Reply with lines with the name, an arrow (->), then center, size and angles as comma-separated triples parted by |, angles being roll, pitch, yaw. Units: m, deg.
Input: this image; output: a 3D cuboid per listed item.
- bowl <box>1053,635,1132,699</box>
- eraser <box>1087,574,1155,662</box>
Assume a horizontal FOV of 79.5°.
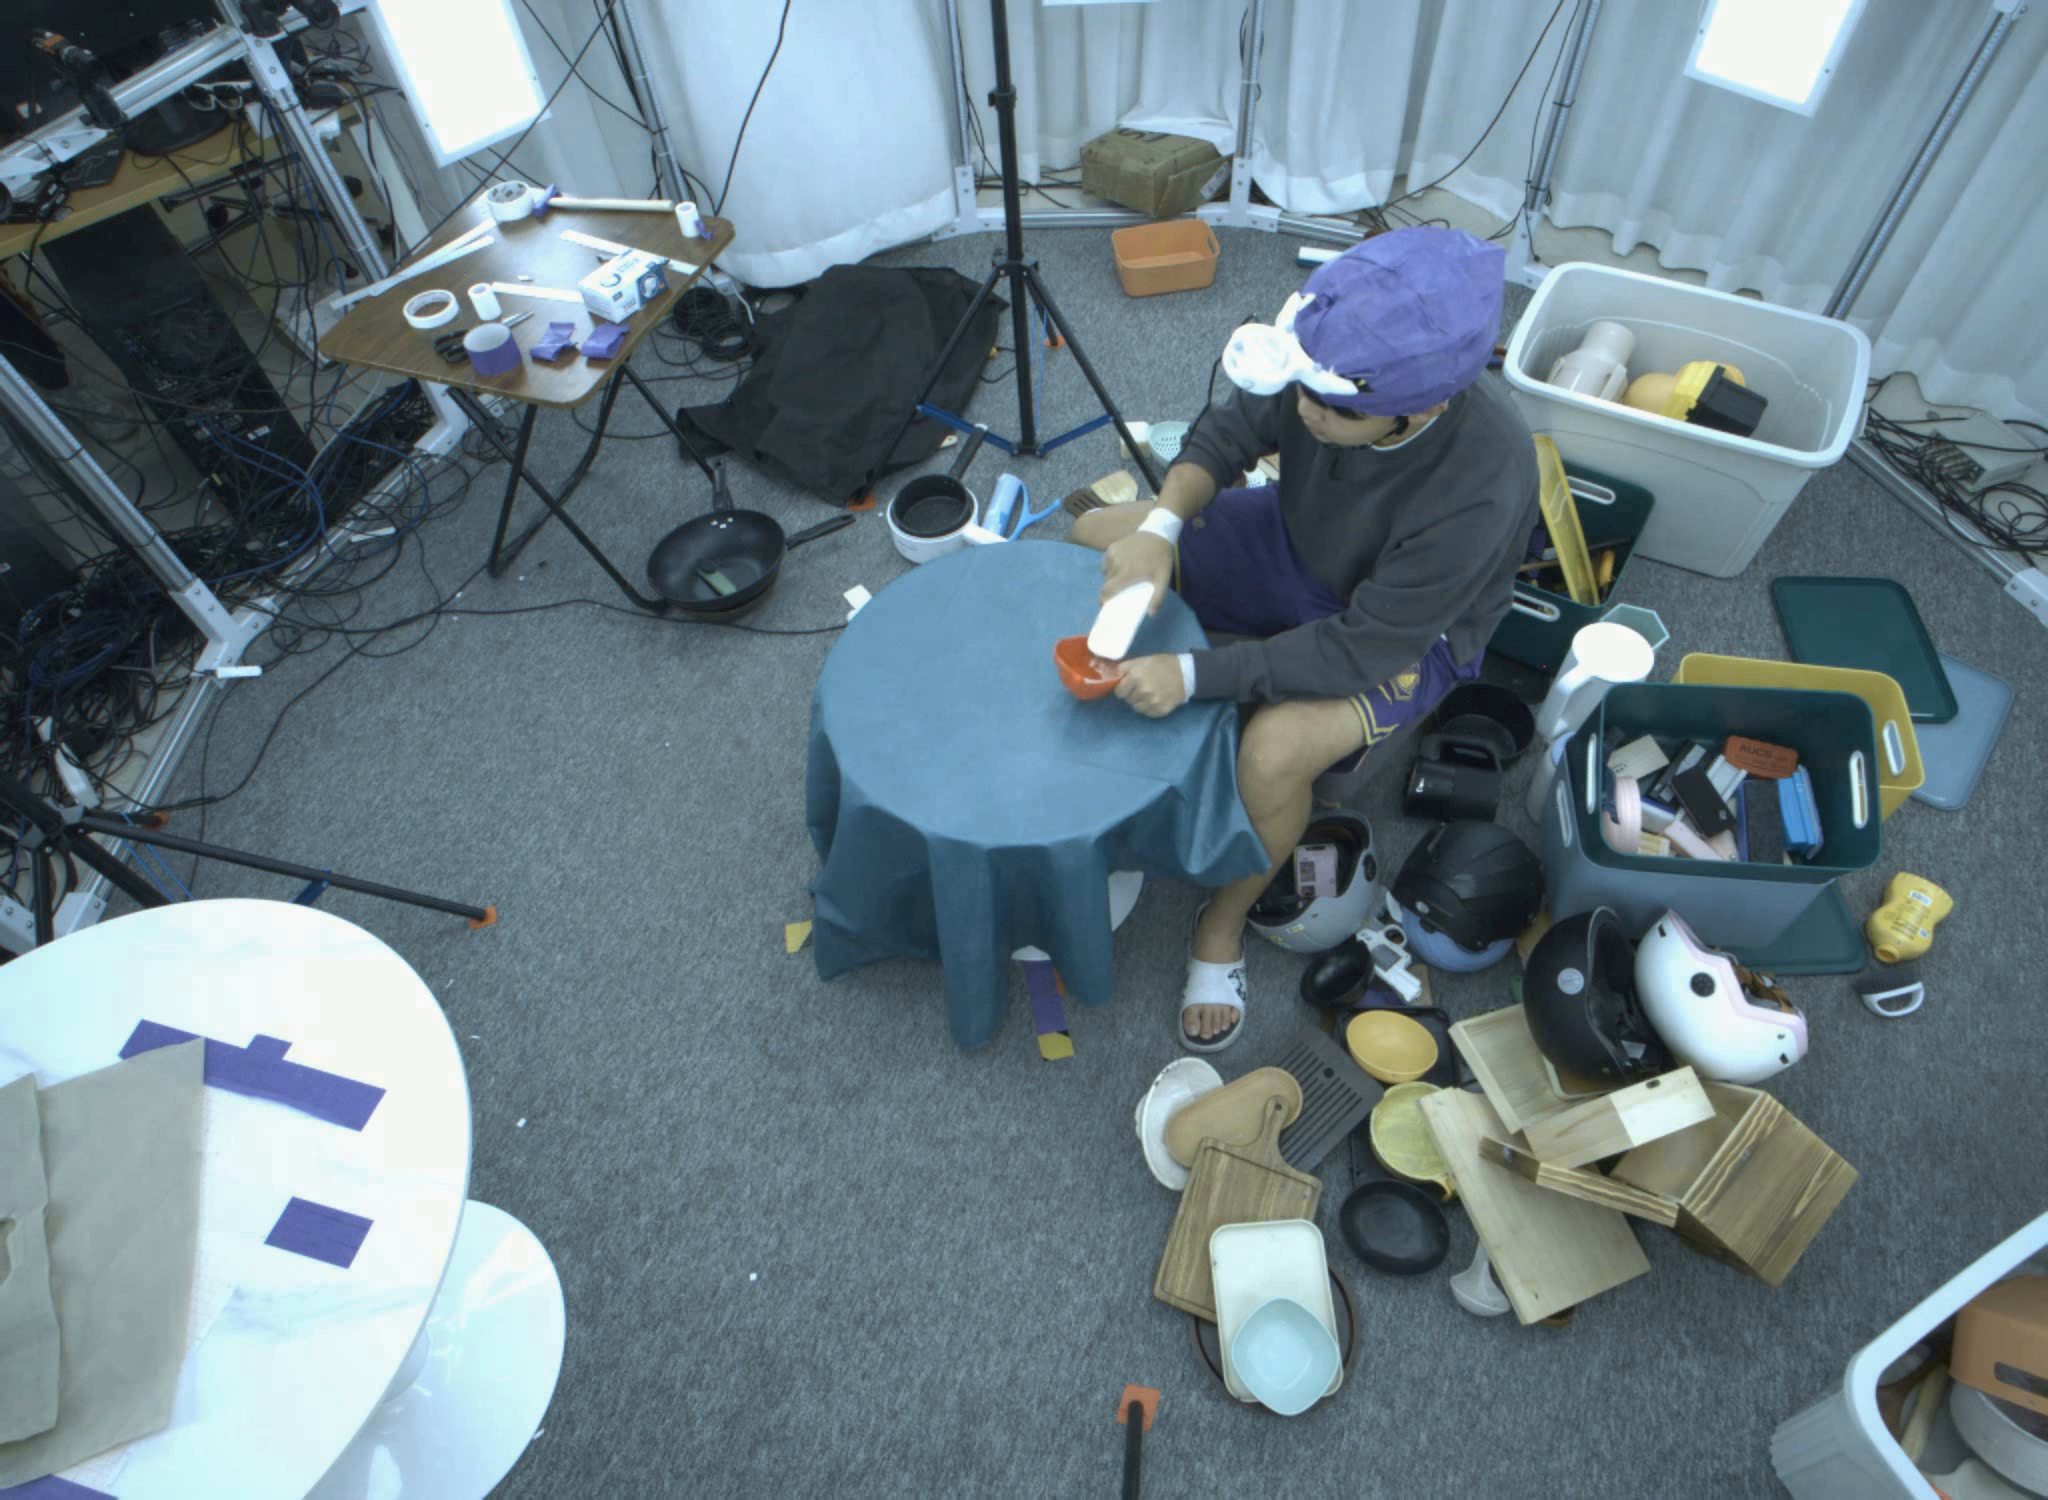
bowl -> 0.095, -0.117, 1.809 | 0.120, 0.051, 0.117 | 12, 38, -8
eraser -> 0.146, -0.195, 1.821 | 0.062, 0.035, 0.131 | 25, 83, 21
